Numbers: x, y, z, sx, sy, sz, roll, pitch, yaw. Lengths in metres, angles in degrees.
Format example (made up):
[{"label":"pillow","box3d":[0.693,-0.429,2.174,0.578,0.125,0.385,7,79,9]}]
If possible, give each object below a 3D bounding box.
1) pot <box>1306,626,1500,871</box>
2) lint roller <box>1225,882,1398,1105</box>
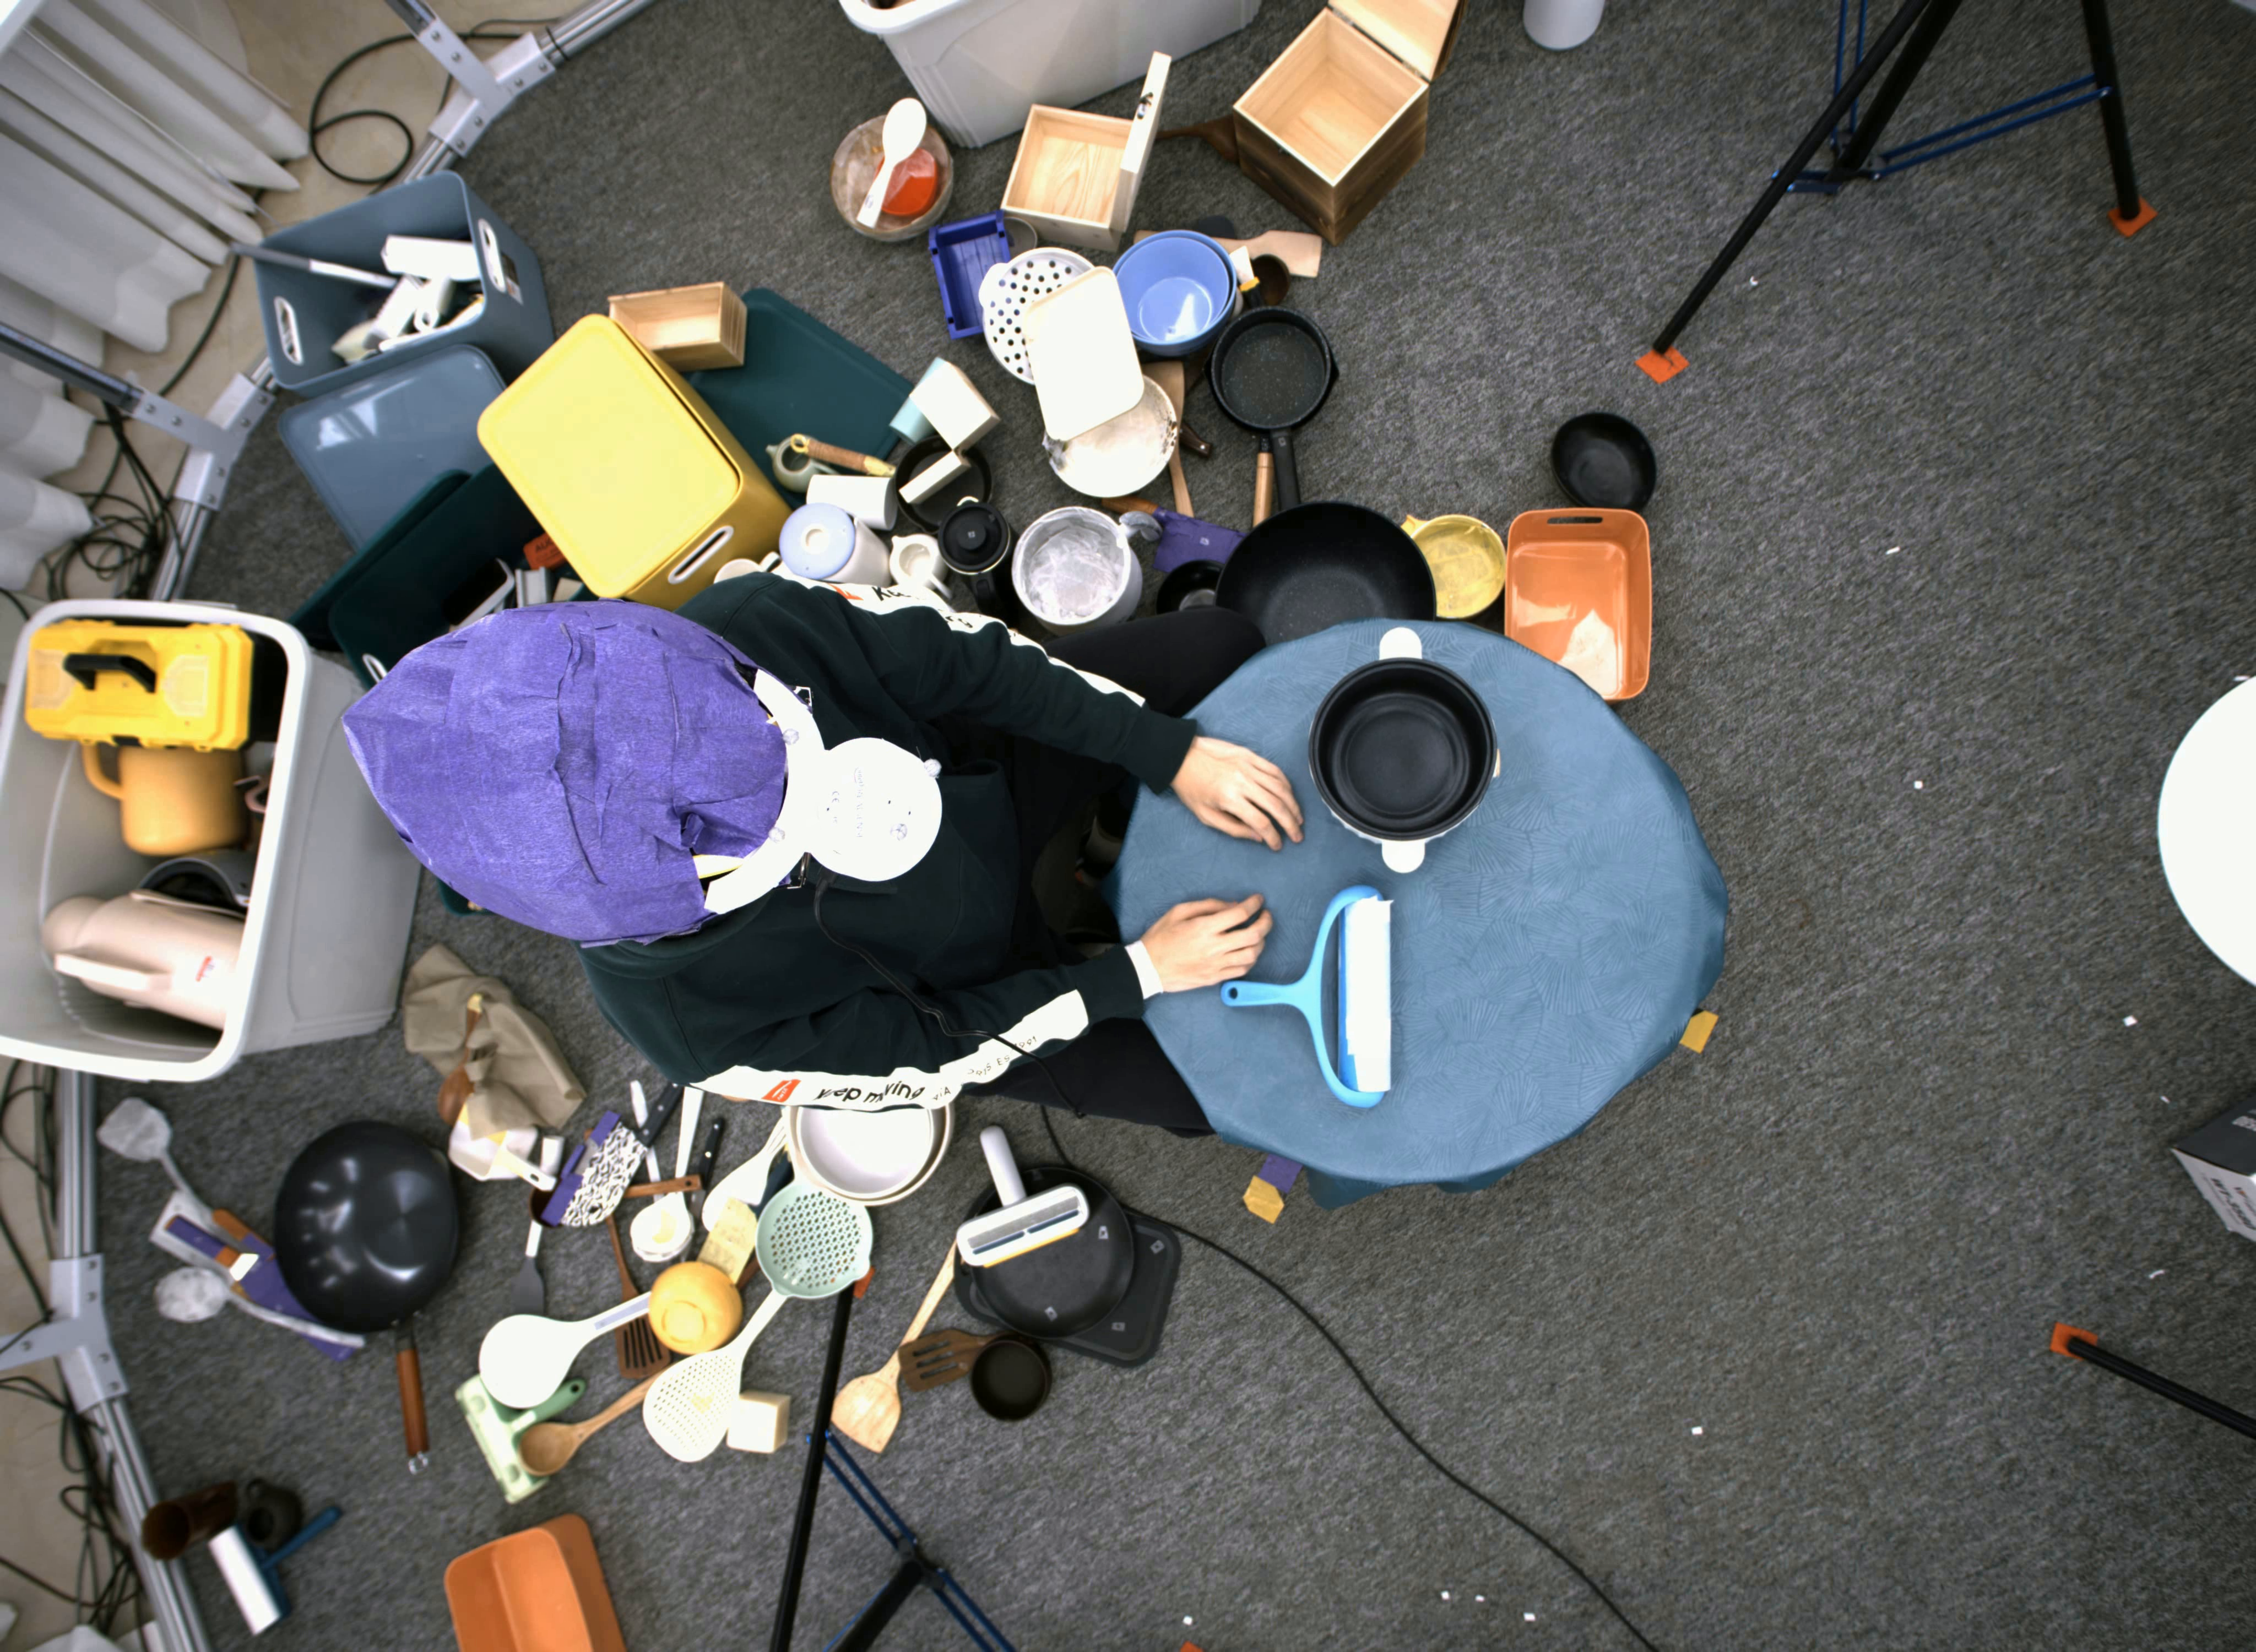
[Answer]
[{"label":"pot","box3d":[0.280,-0.073,1.390,0.191,0.142,0.239,-2,87,13]},{"label":"lint roller","box3d":[0.189,0.176,1.437,0.181,0.068,0.228,-4,88,9]}]
